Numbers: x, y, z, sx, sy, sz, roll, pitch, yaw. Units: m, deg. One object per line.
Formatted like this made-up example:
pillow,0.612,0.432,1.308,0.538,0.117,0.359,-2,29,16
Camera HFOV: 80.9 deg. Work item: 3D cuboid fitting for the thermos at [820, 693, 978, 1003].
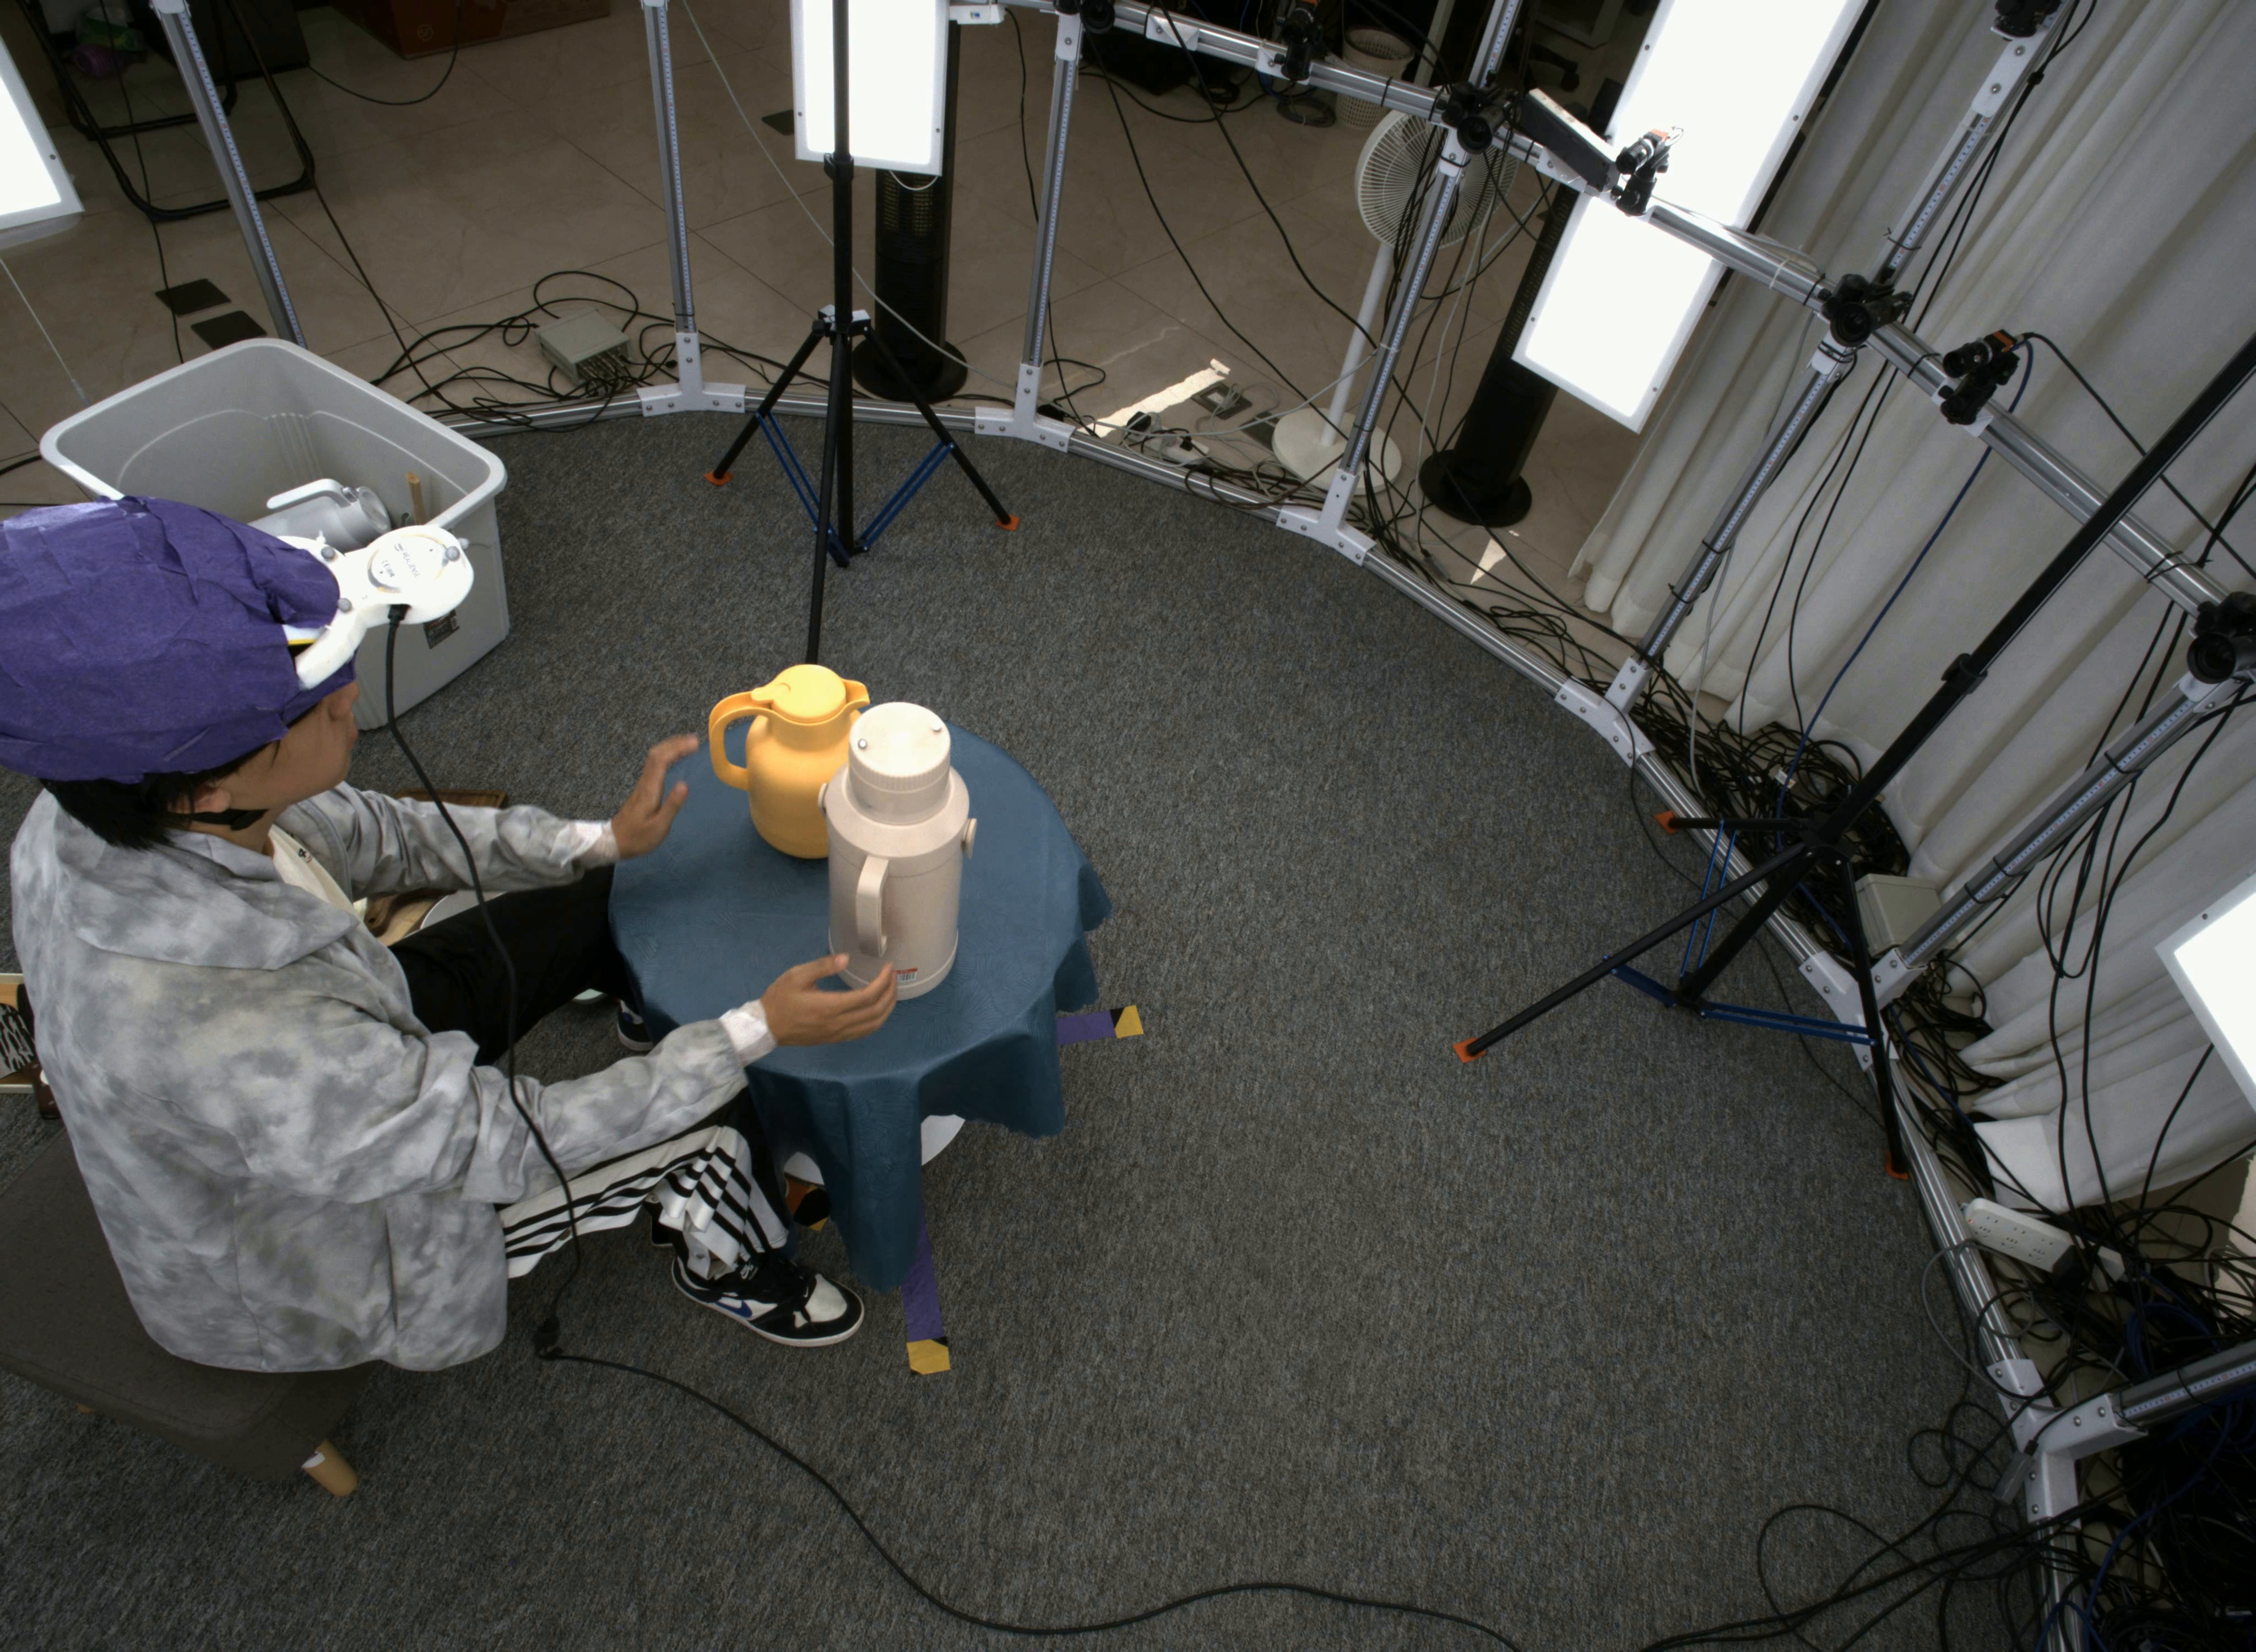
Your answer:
thermos,-0.266,0.040,1.479,0.174,0.415,0.204,13,50,-1

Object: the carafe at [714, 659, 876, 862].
carafe,-0.413,-0.087,1.625,0.203,0.266,0.159,-4,51,-16
